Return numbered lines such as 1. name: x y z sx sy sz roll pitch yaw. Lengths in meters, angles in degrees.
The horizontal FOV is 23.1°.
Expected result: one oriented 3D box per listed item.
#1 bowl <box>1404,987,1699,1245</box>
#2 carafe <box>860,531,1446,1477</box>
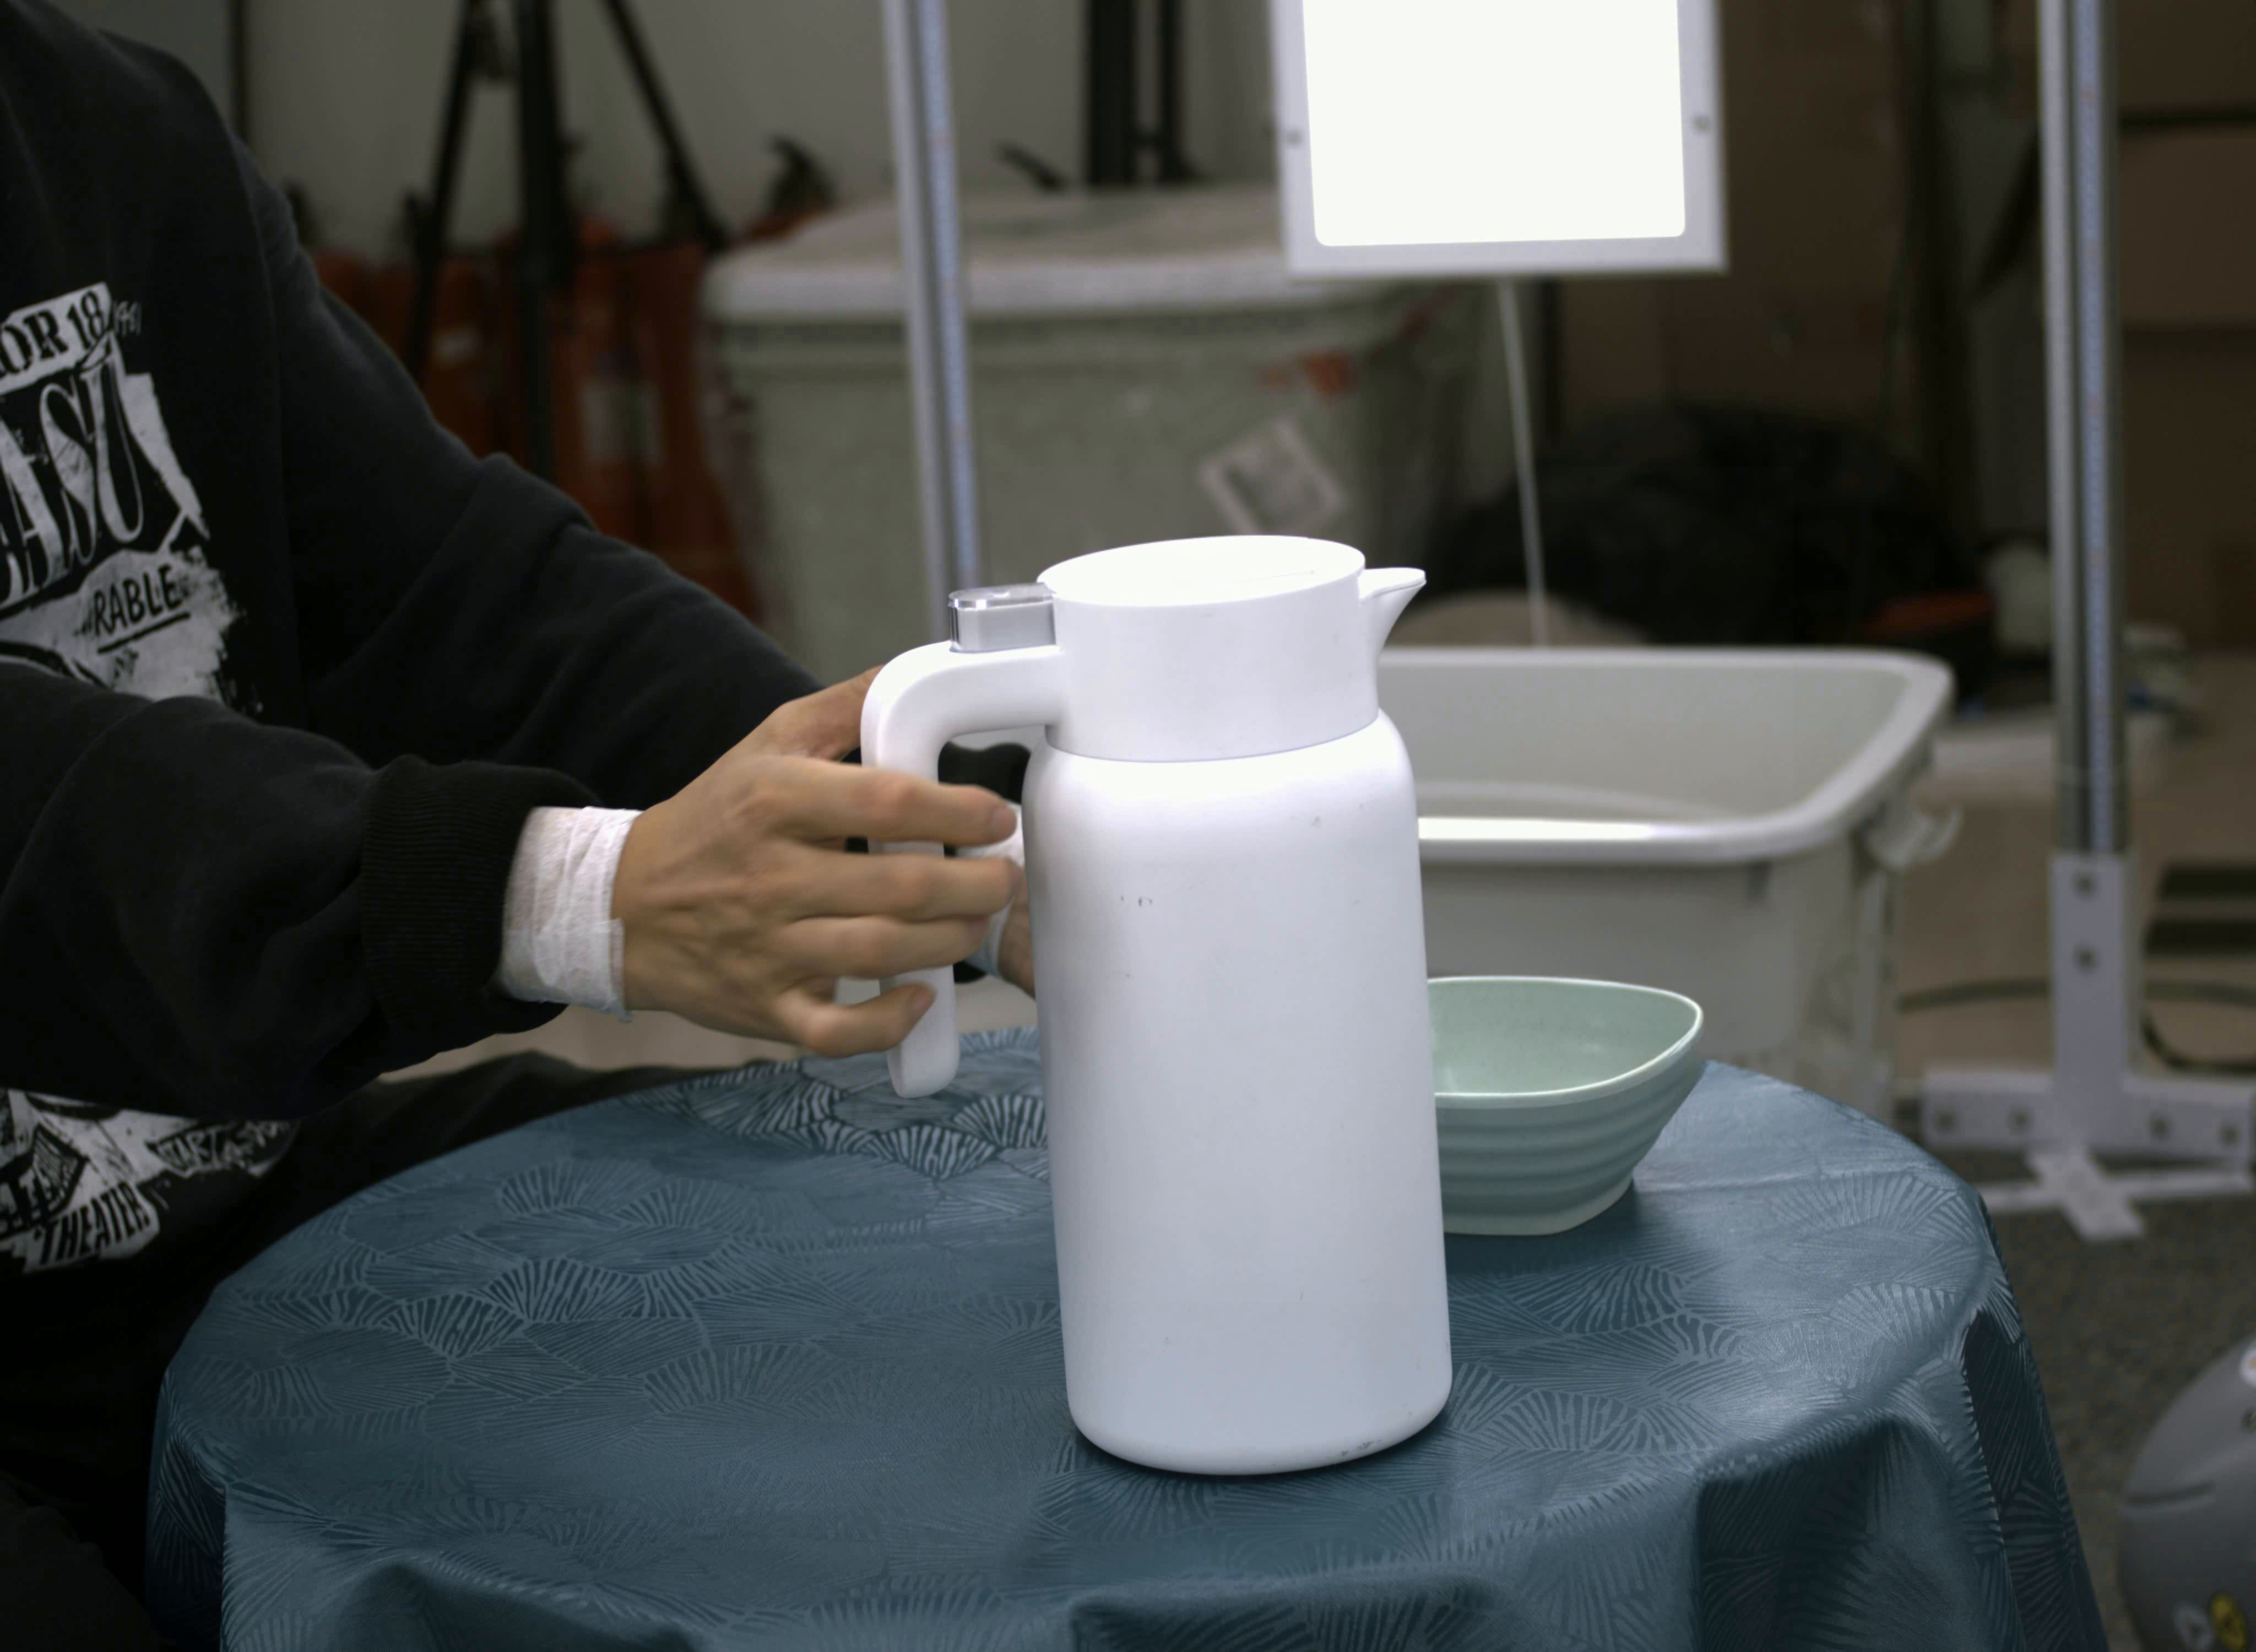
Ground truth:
1. bowl: 0.122 0.100 1.852 0.151 0.059 0.151 -5 13 0
2. carafe: 0.014 0.054 1.632 0.171 0.270 0.125 -7 16 -11
